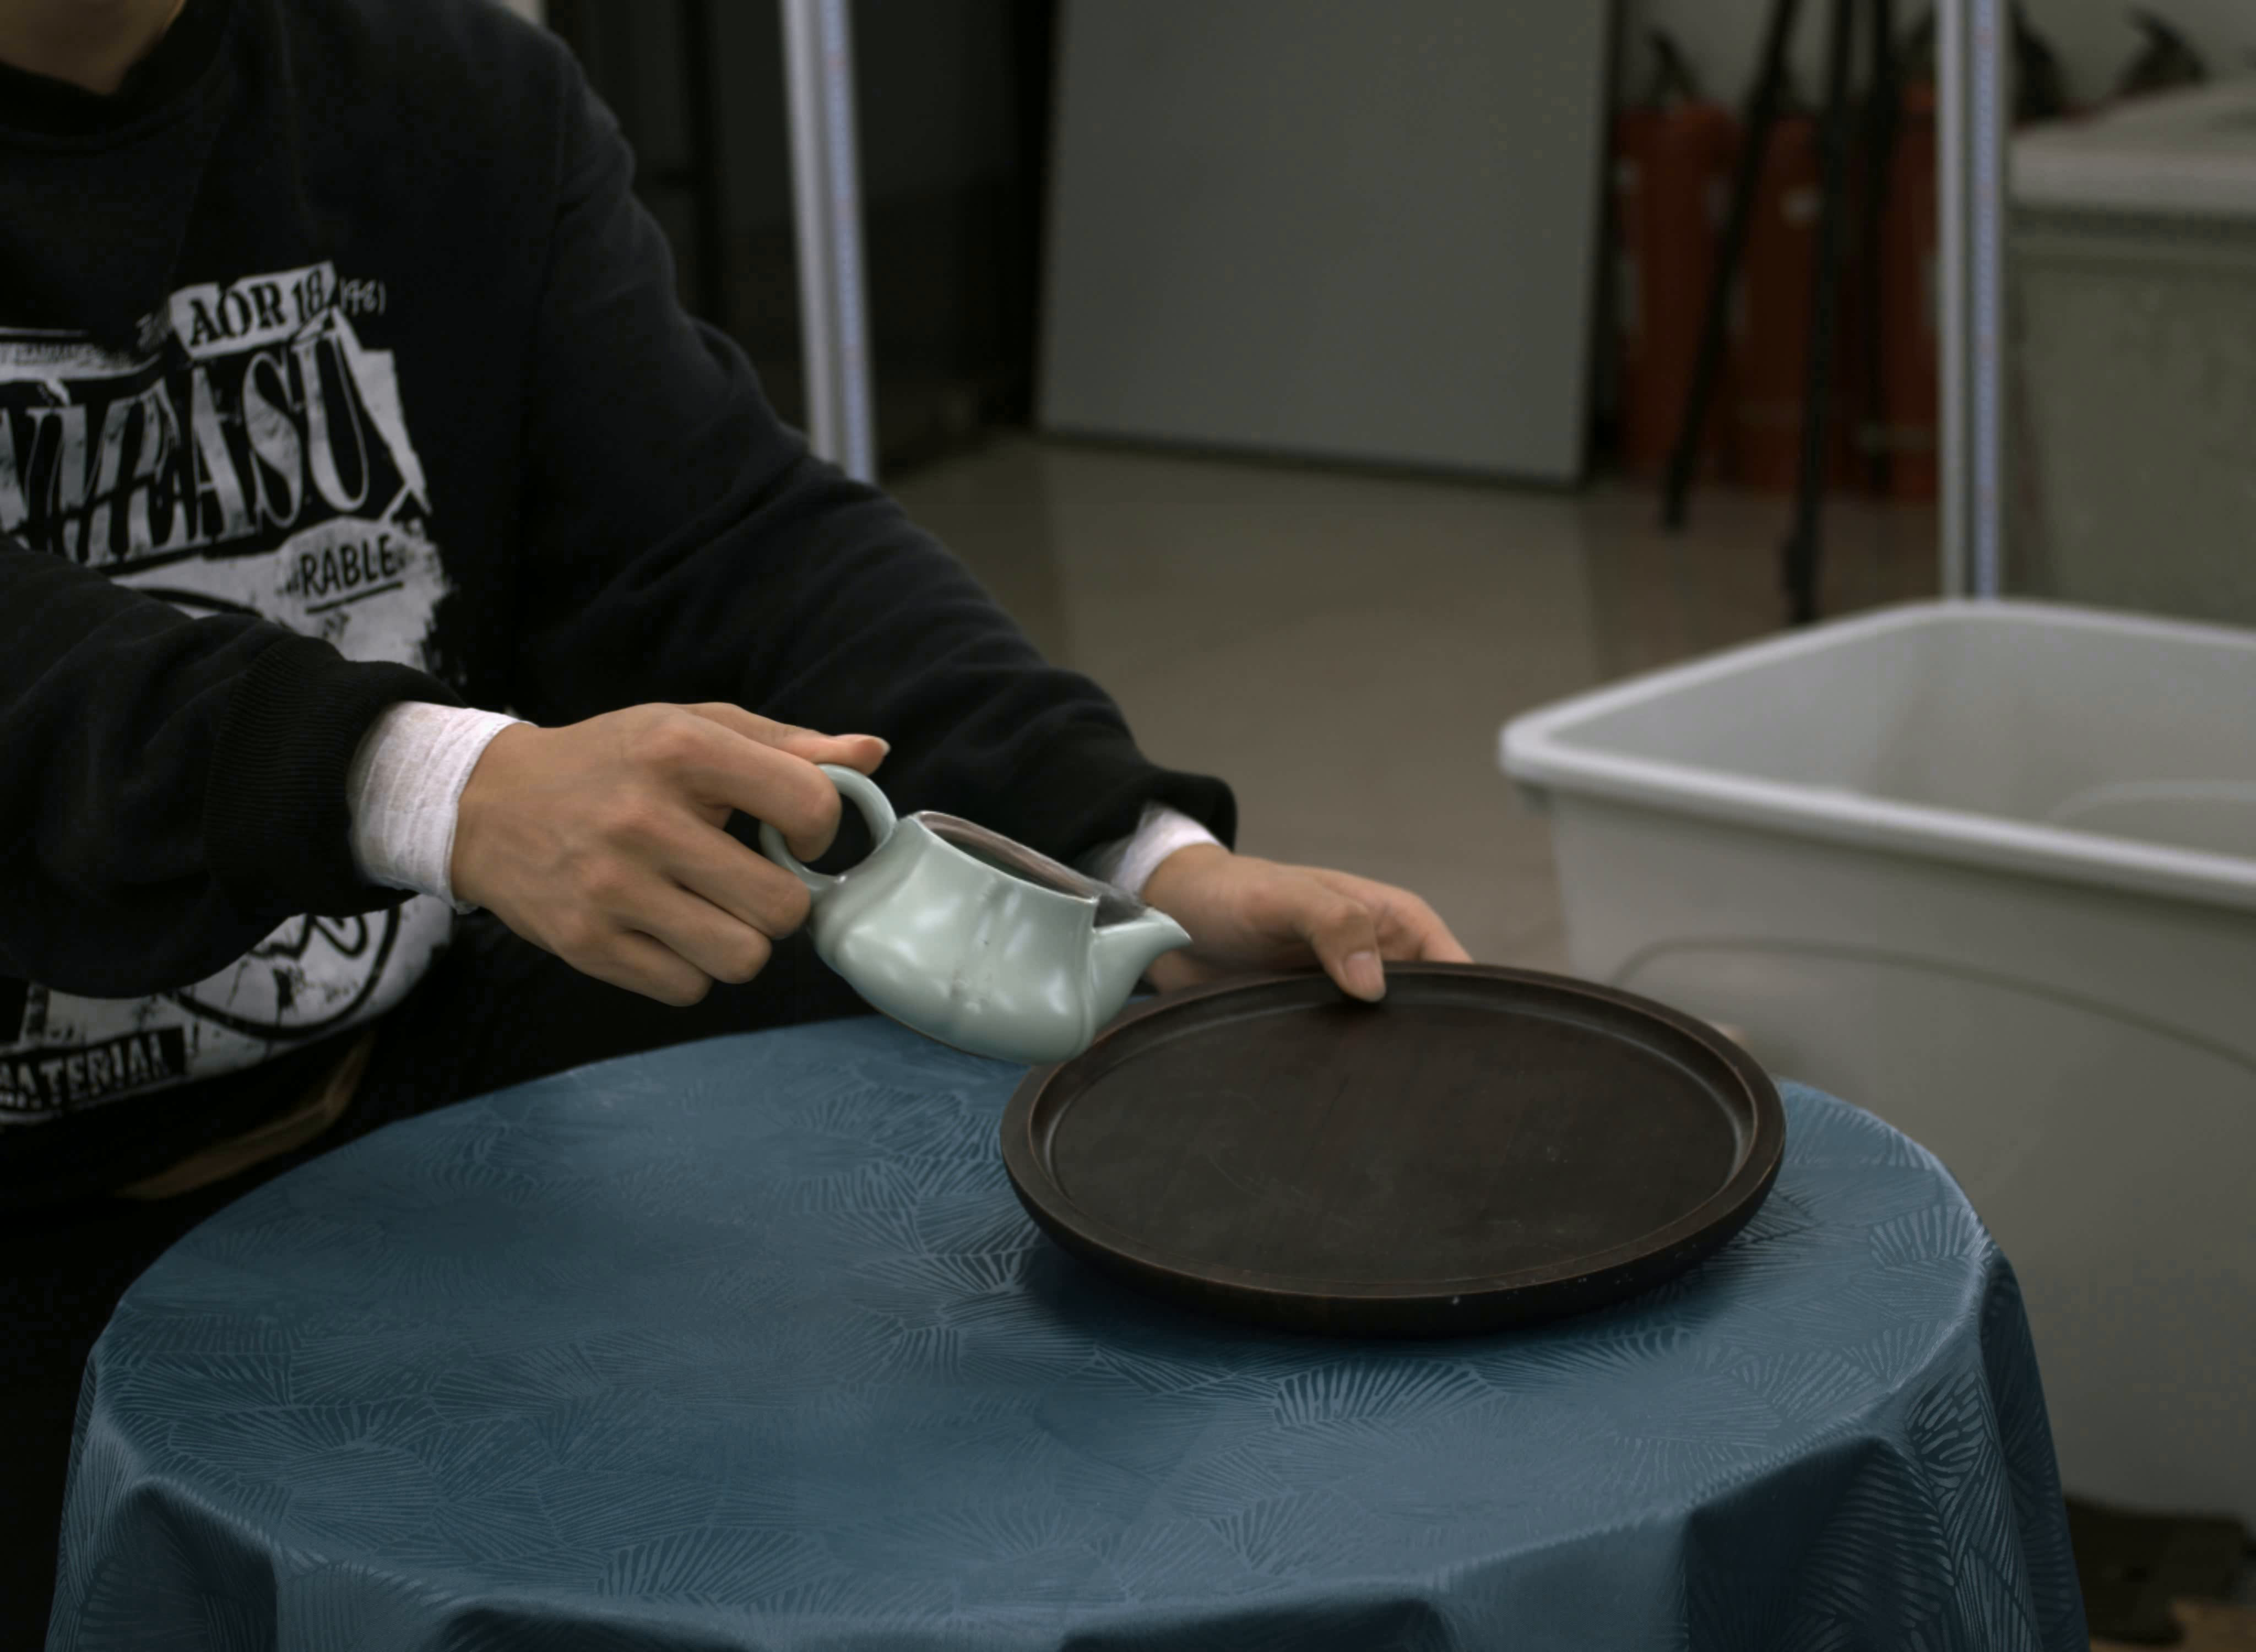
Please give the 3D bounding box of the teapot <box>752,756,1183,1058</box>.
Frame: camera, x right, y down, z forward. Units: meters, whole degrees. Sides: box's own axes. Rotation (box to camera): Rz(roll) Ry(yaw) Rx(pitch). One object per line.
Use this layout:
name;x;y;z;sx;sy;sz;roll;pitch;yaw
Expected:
teapot;-0.054;0.028;1.626;0.135;0.062;0.096;24;10;-12

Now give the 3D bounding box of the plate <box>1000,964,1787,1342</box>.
plate;0.084;0.101;1.715;0.251;0.029;0.255;-3;23;0
